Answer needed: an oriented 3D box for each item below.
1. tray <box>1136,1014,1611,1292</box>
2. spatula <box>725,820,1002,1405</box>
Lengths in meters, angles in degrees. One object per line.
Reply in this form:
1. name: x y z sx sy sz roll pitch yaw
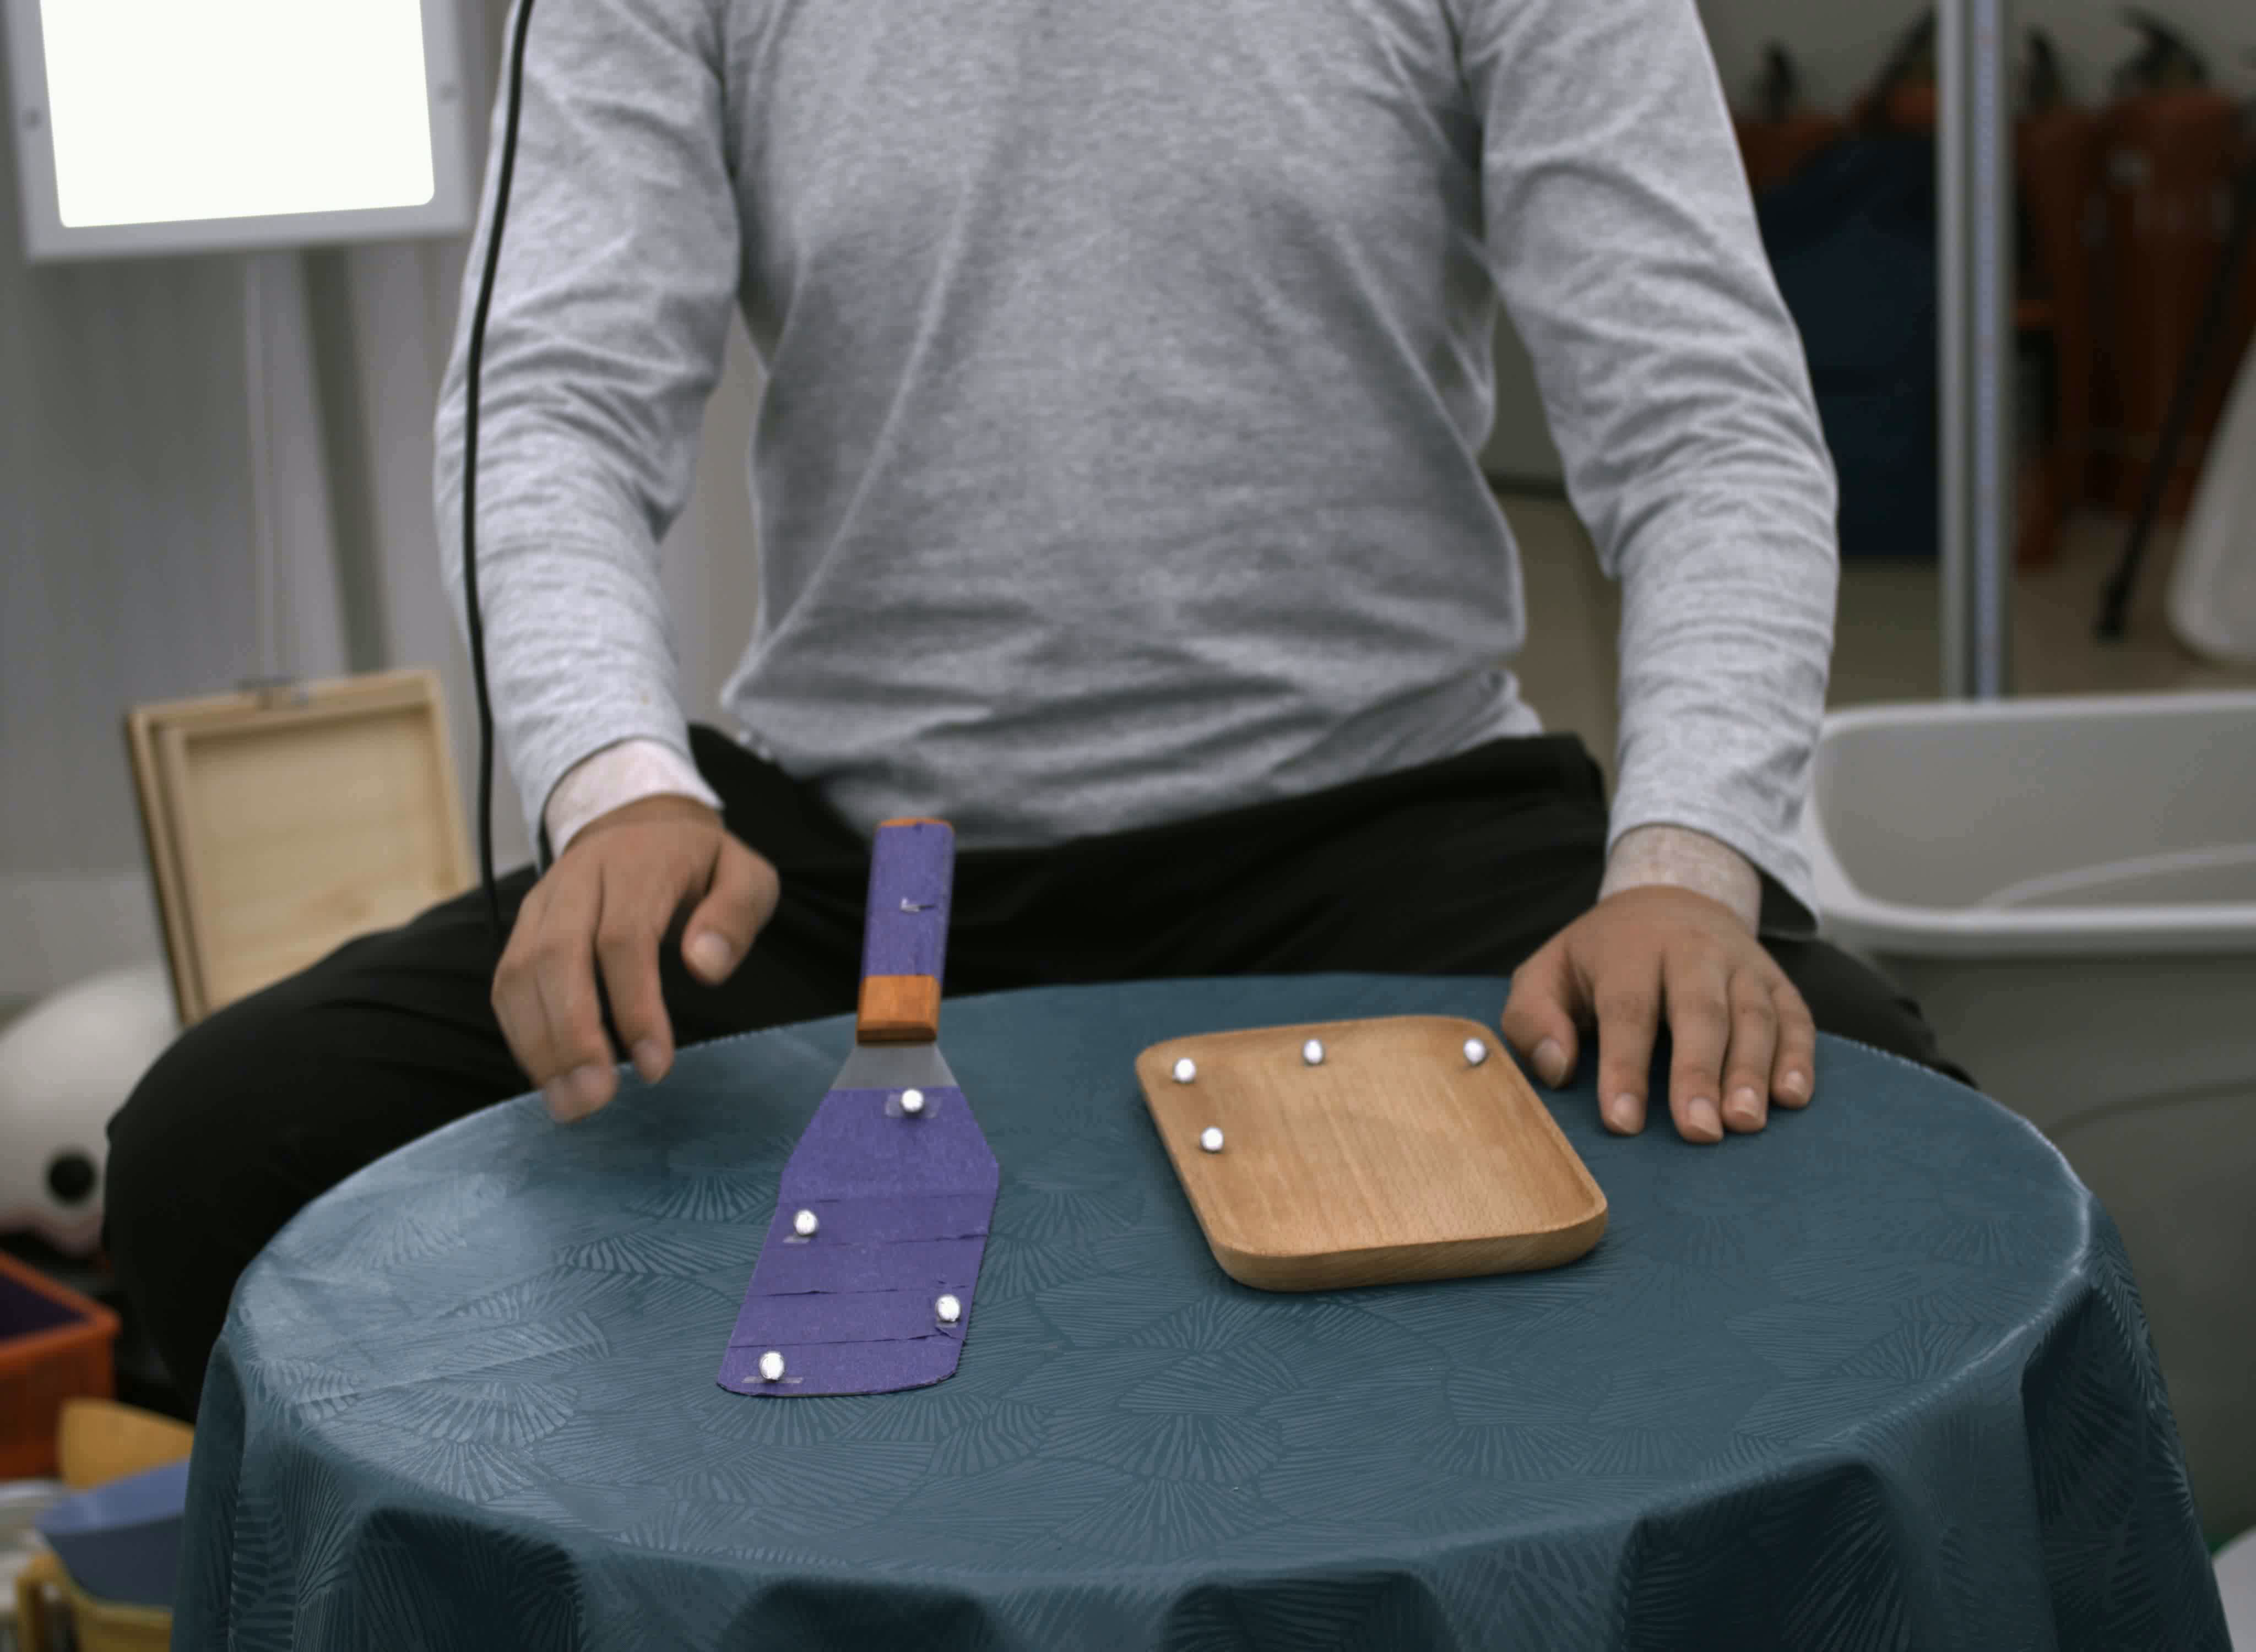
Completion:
1. tray: 0.078 0.105 1.779 0.128 0.023 0.252 -9 15 -4
2. spatula: -0.080 0.089 1.764 0.074 0.087 0.361 -2 40 3
